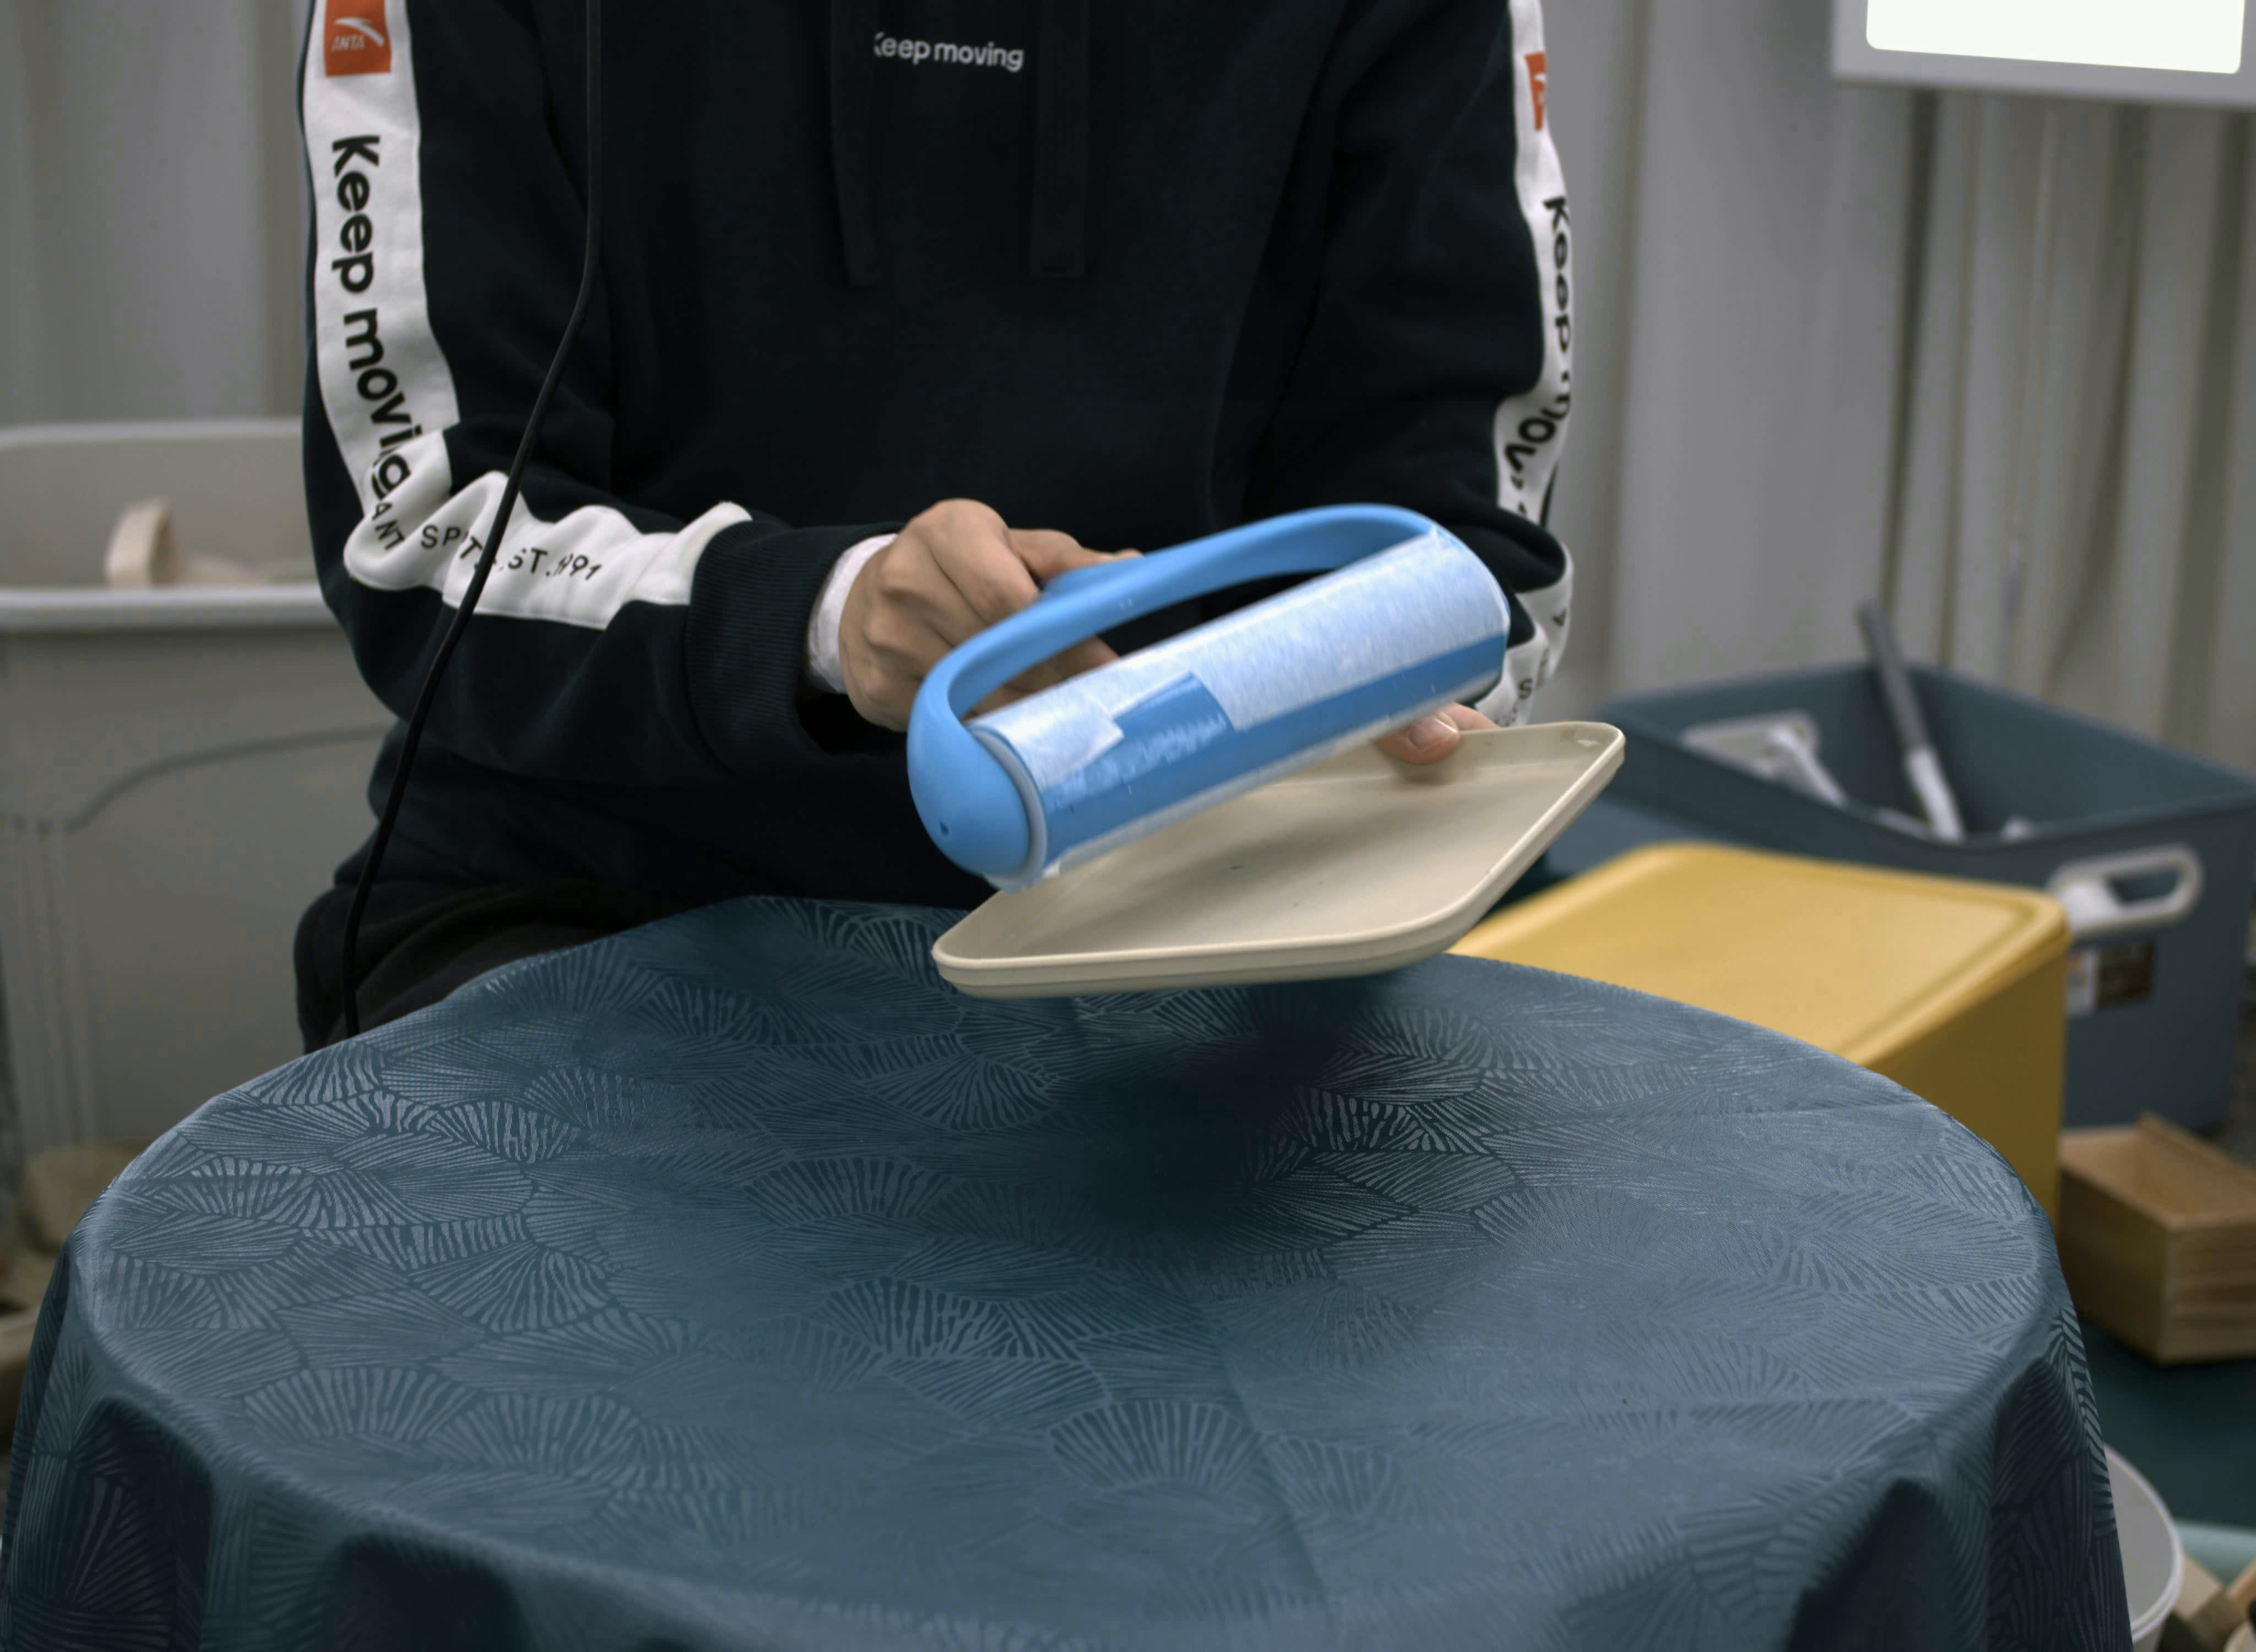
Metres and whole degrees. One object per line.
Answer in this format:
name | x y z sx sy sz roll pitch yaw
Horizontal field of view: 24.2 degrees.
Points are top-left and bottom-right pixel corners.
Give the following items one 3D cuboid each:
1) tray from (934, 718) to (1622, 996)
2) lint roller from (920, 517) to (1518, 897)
tray | 0.052 0.009 1.638 0.170 0.017 0.240 -6 14 21
lint roller | -0.007 -0.047 1.672 0.229 0.068 0.178 -26 29 -37
